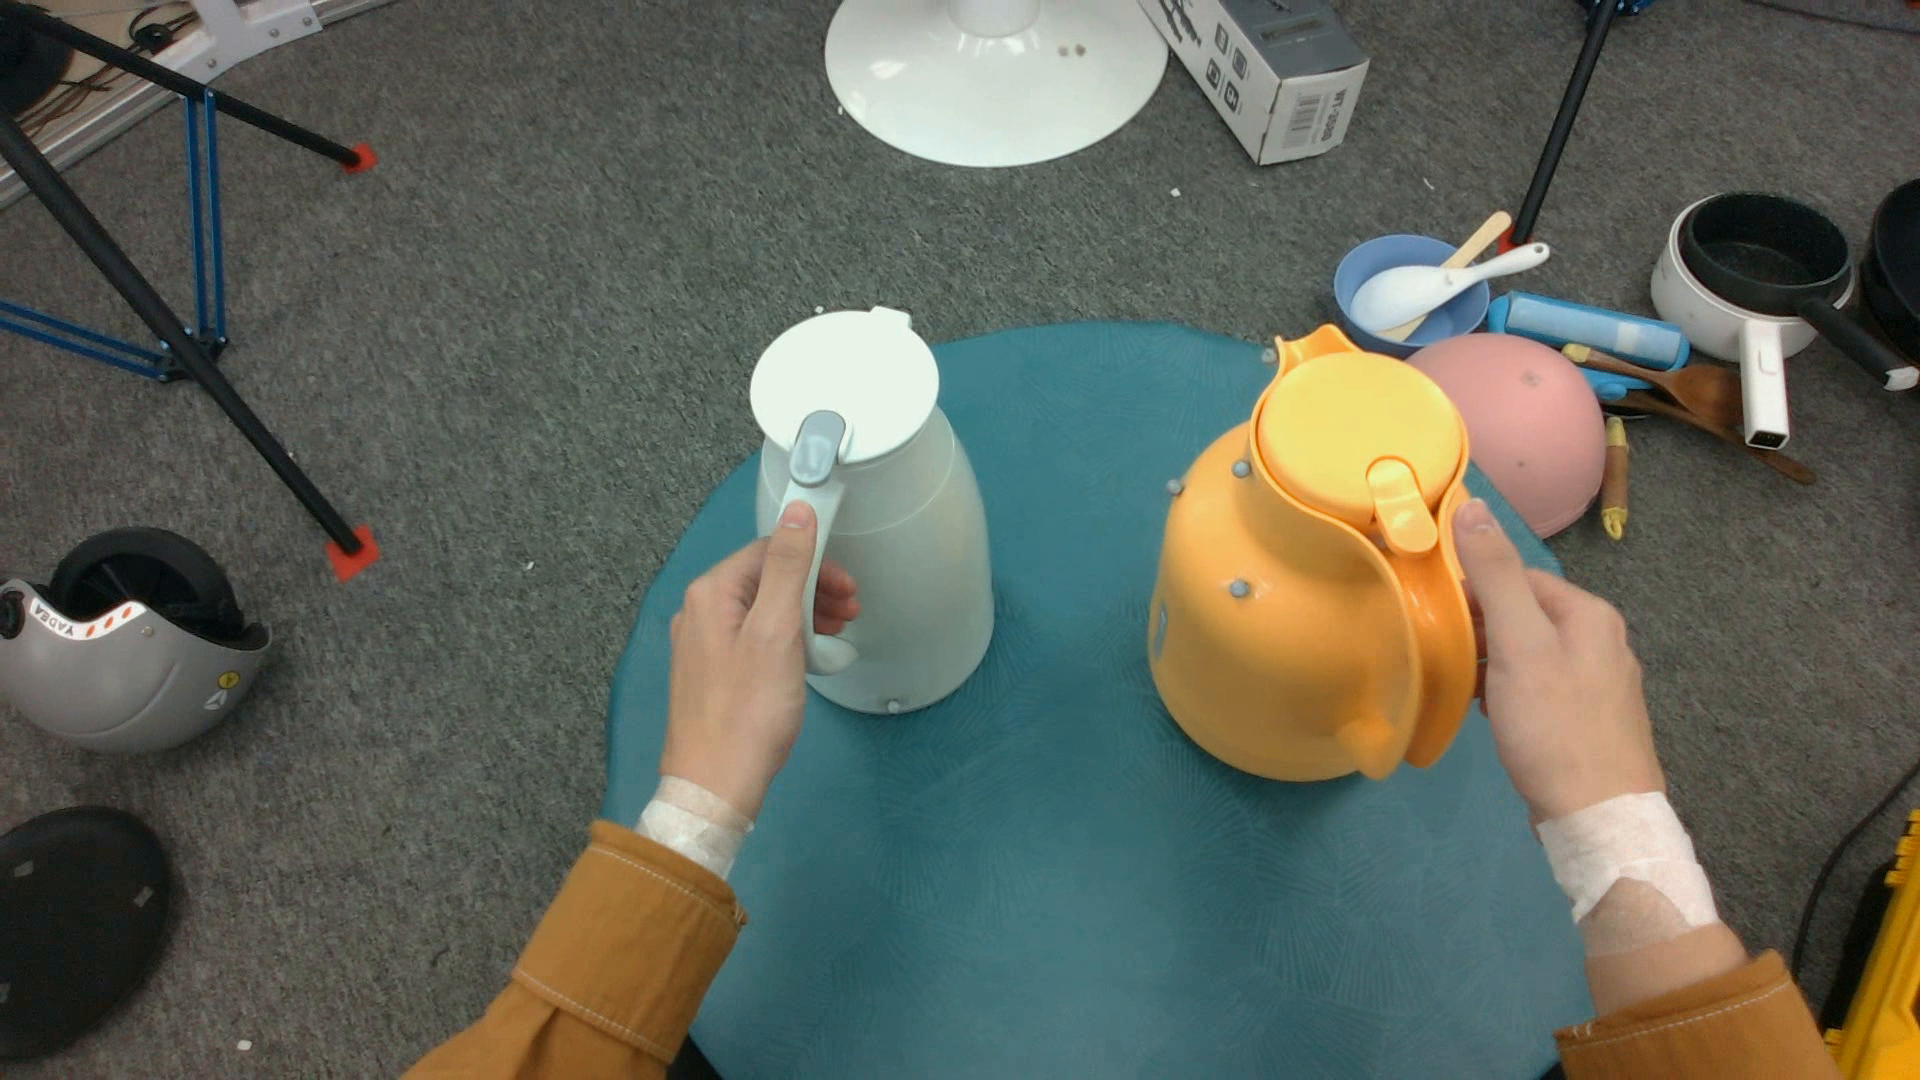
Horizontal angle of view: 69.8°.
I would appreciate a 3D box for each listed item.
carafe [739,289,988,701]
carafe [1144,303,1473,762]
[{"bbox_3d":[-0.060,-0.007,0.748,0.132,0.247,0.168,14,61,11],"label":"carafe"},{"bbox_3d":[0.186,0.018,0.716,0.163,0.259,0.203,-13,58,-3],"label":"carafe"}]
